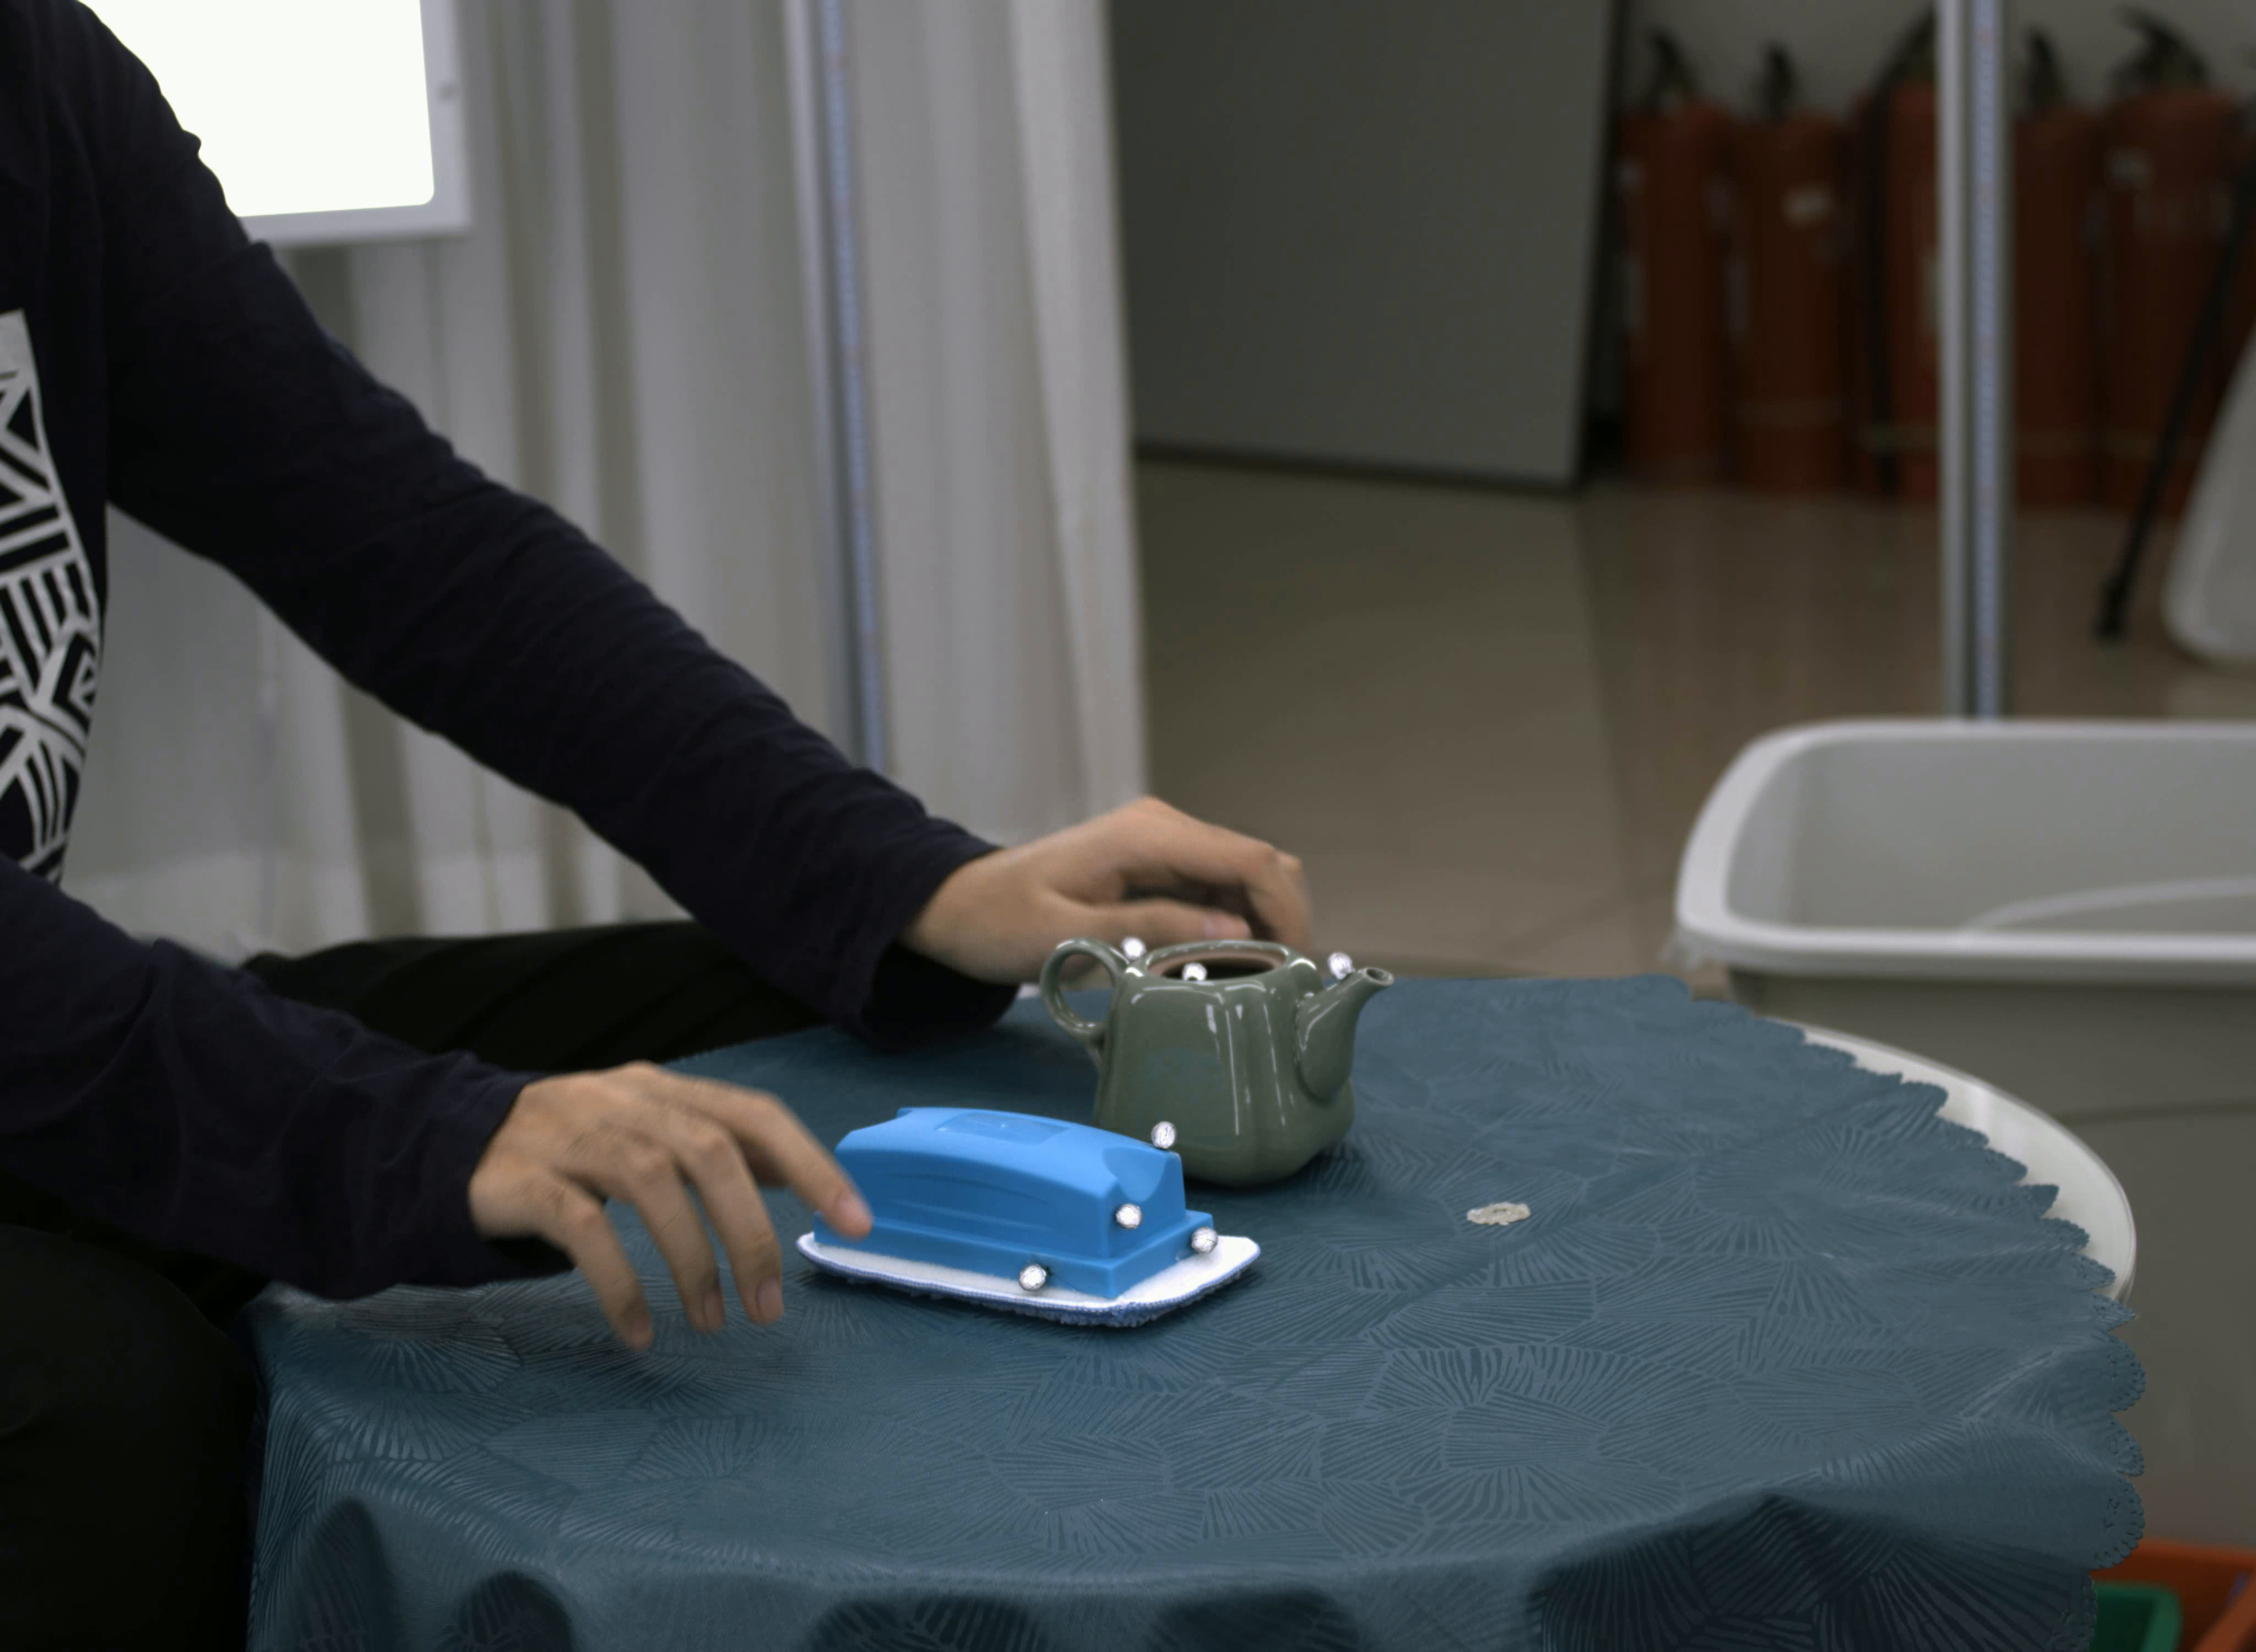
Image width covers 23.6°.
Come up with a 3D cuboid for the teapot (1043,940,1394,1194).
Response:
[{"bbox_3d":[0.032,0.078,1.791,0.133,0.076,0.078,2,15,30],"label":"teapot"}]

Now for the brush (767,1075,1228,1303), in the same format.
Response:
[{"bbox_3d":[-0.041,0.112,1.694,0.145,0.056,0.082,11,16,38],"label":"brush"}]
